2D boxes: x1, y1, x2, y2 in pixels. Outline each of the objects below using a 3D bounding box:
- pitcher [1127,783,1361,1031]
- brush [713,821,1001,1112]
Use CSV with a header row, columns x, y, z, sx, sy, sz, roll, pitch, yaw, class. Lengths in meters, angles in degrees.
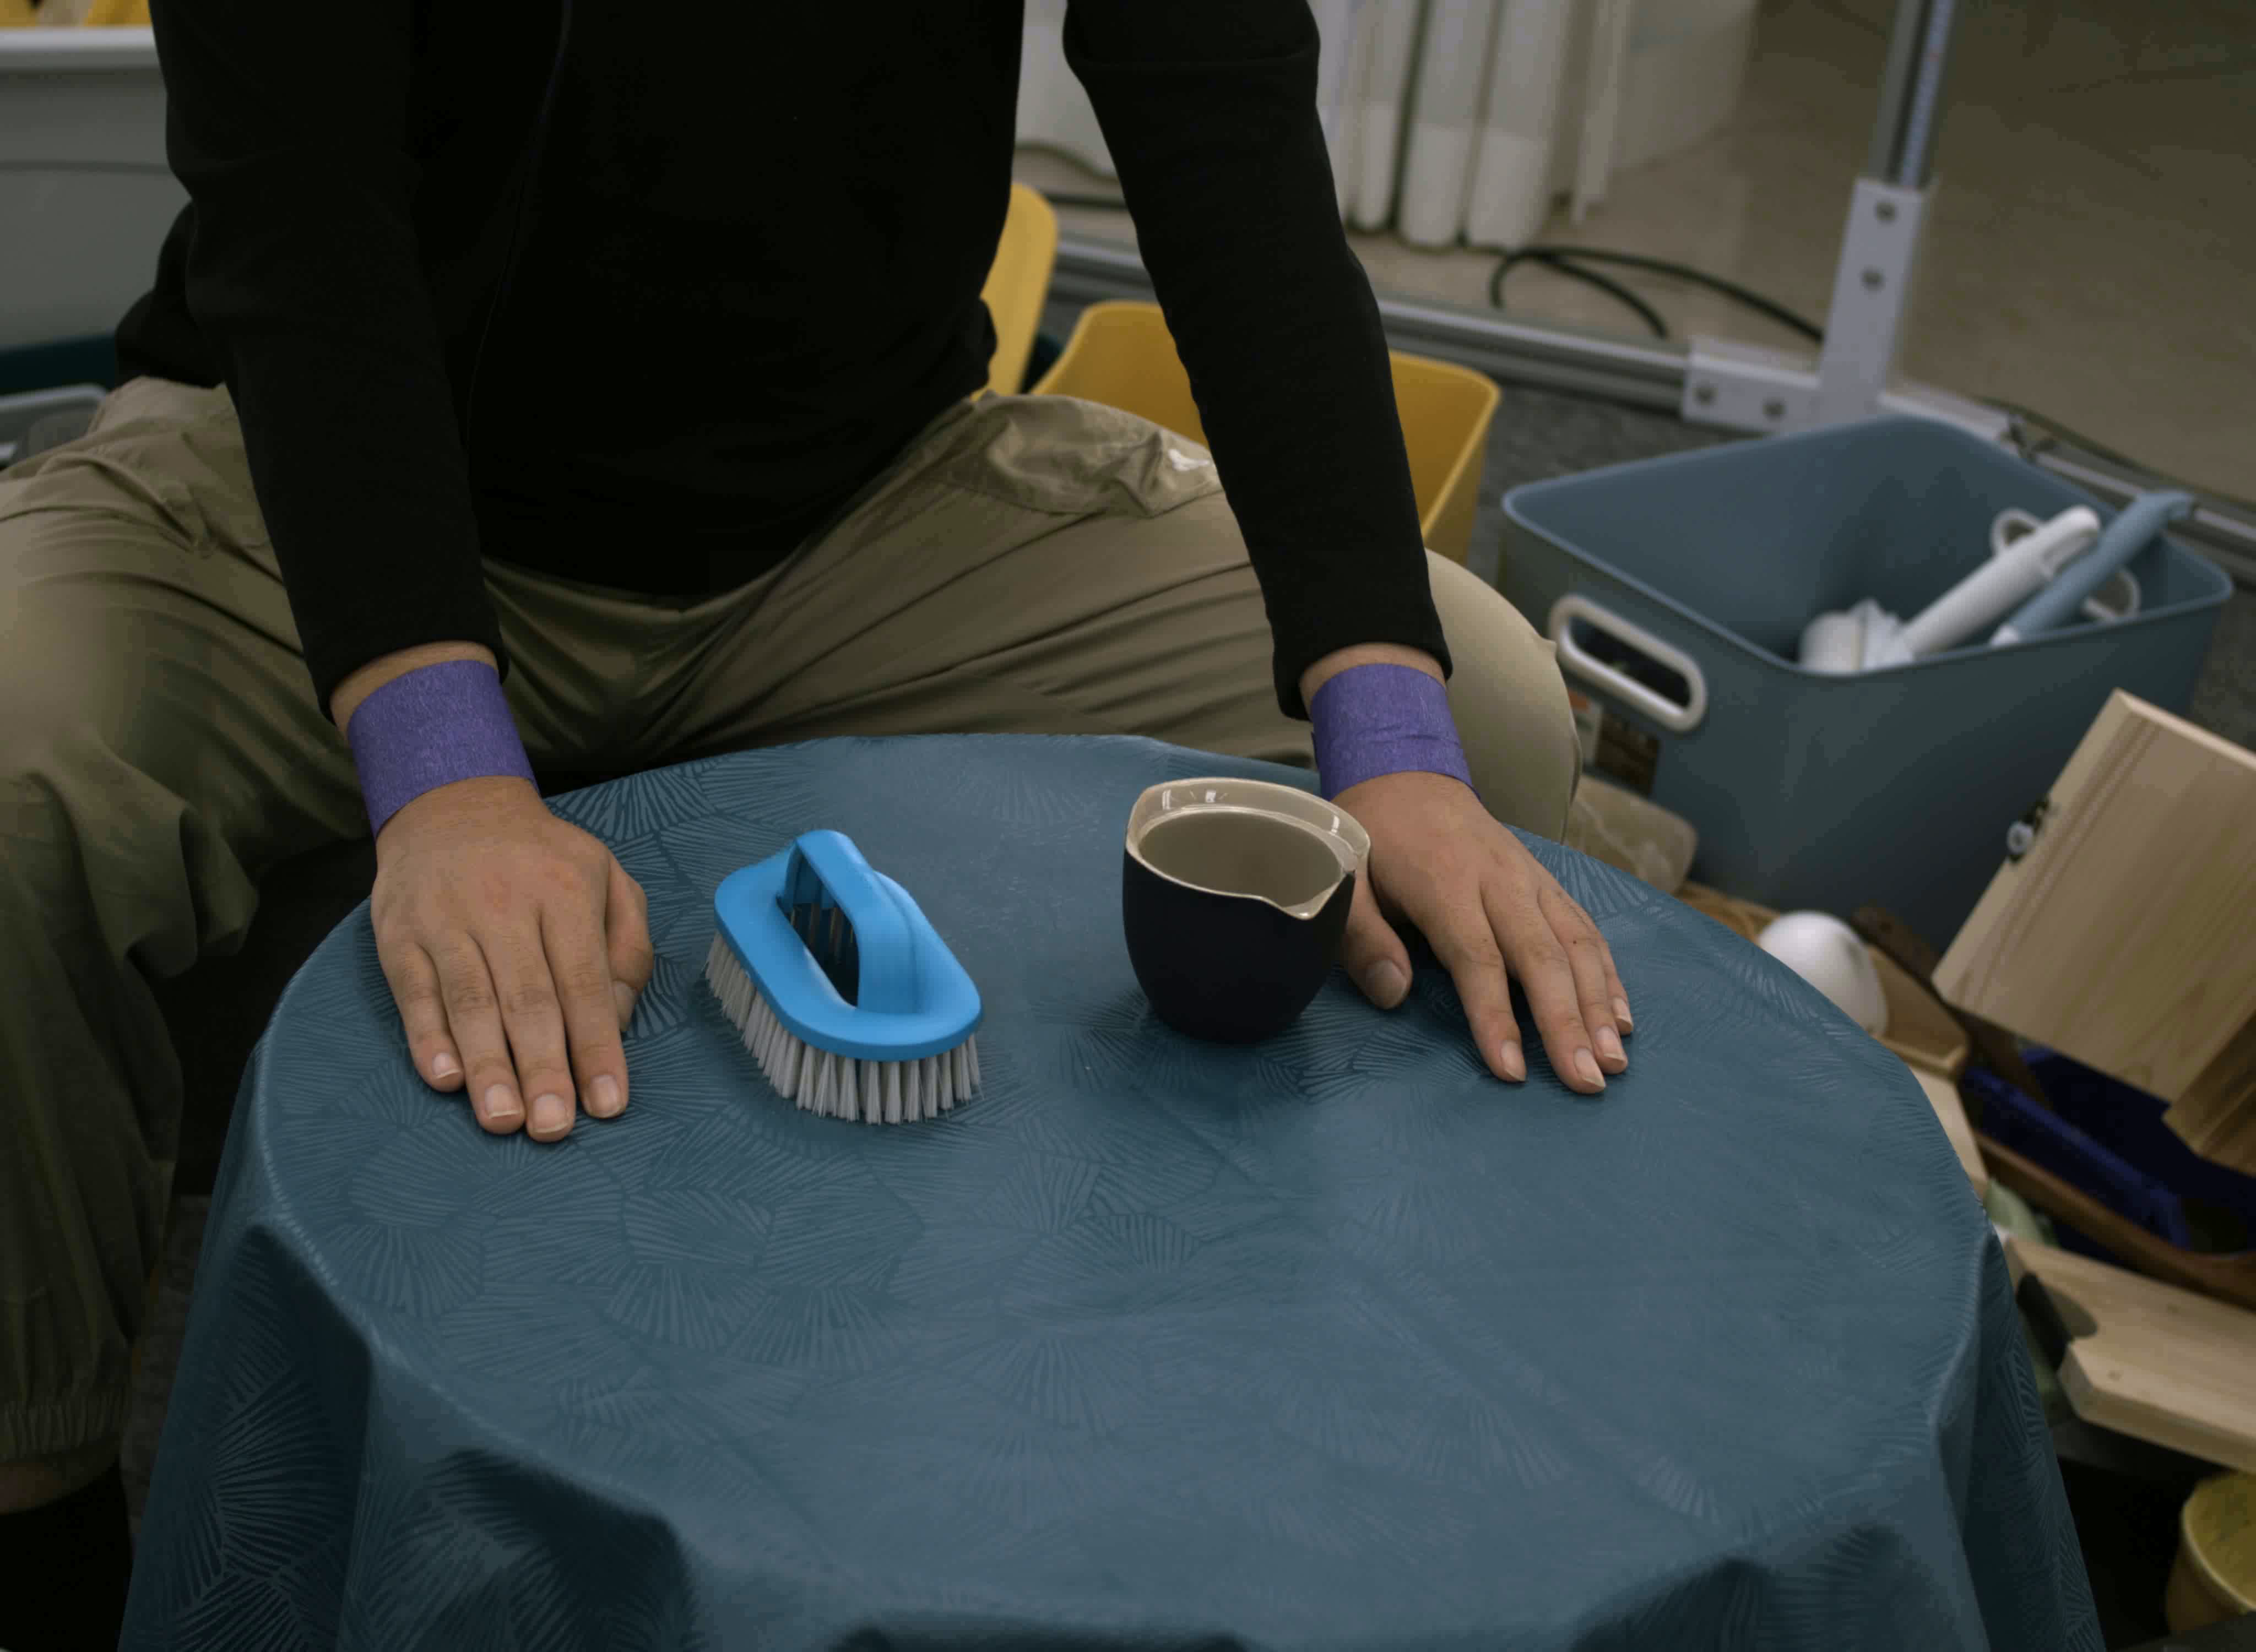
x,y,z,sx,sy,sz,roll,pitch,yaw,class
0.040,0.033,1.905,0.083,0.071,0.097,-1,29,-18,pitcher
-0.097,0.041,1.869,0.084,0.063,0.143,-8,29,-19,brush
